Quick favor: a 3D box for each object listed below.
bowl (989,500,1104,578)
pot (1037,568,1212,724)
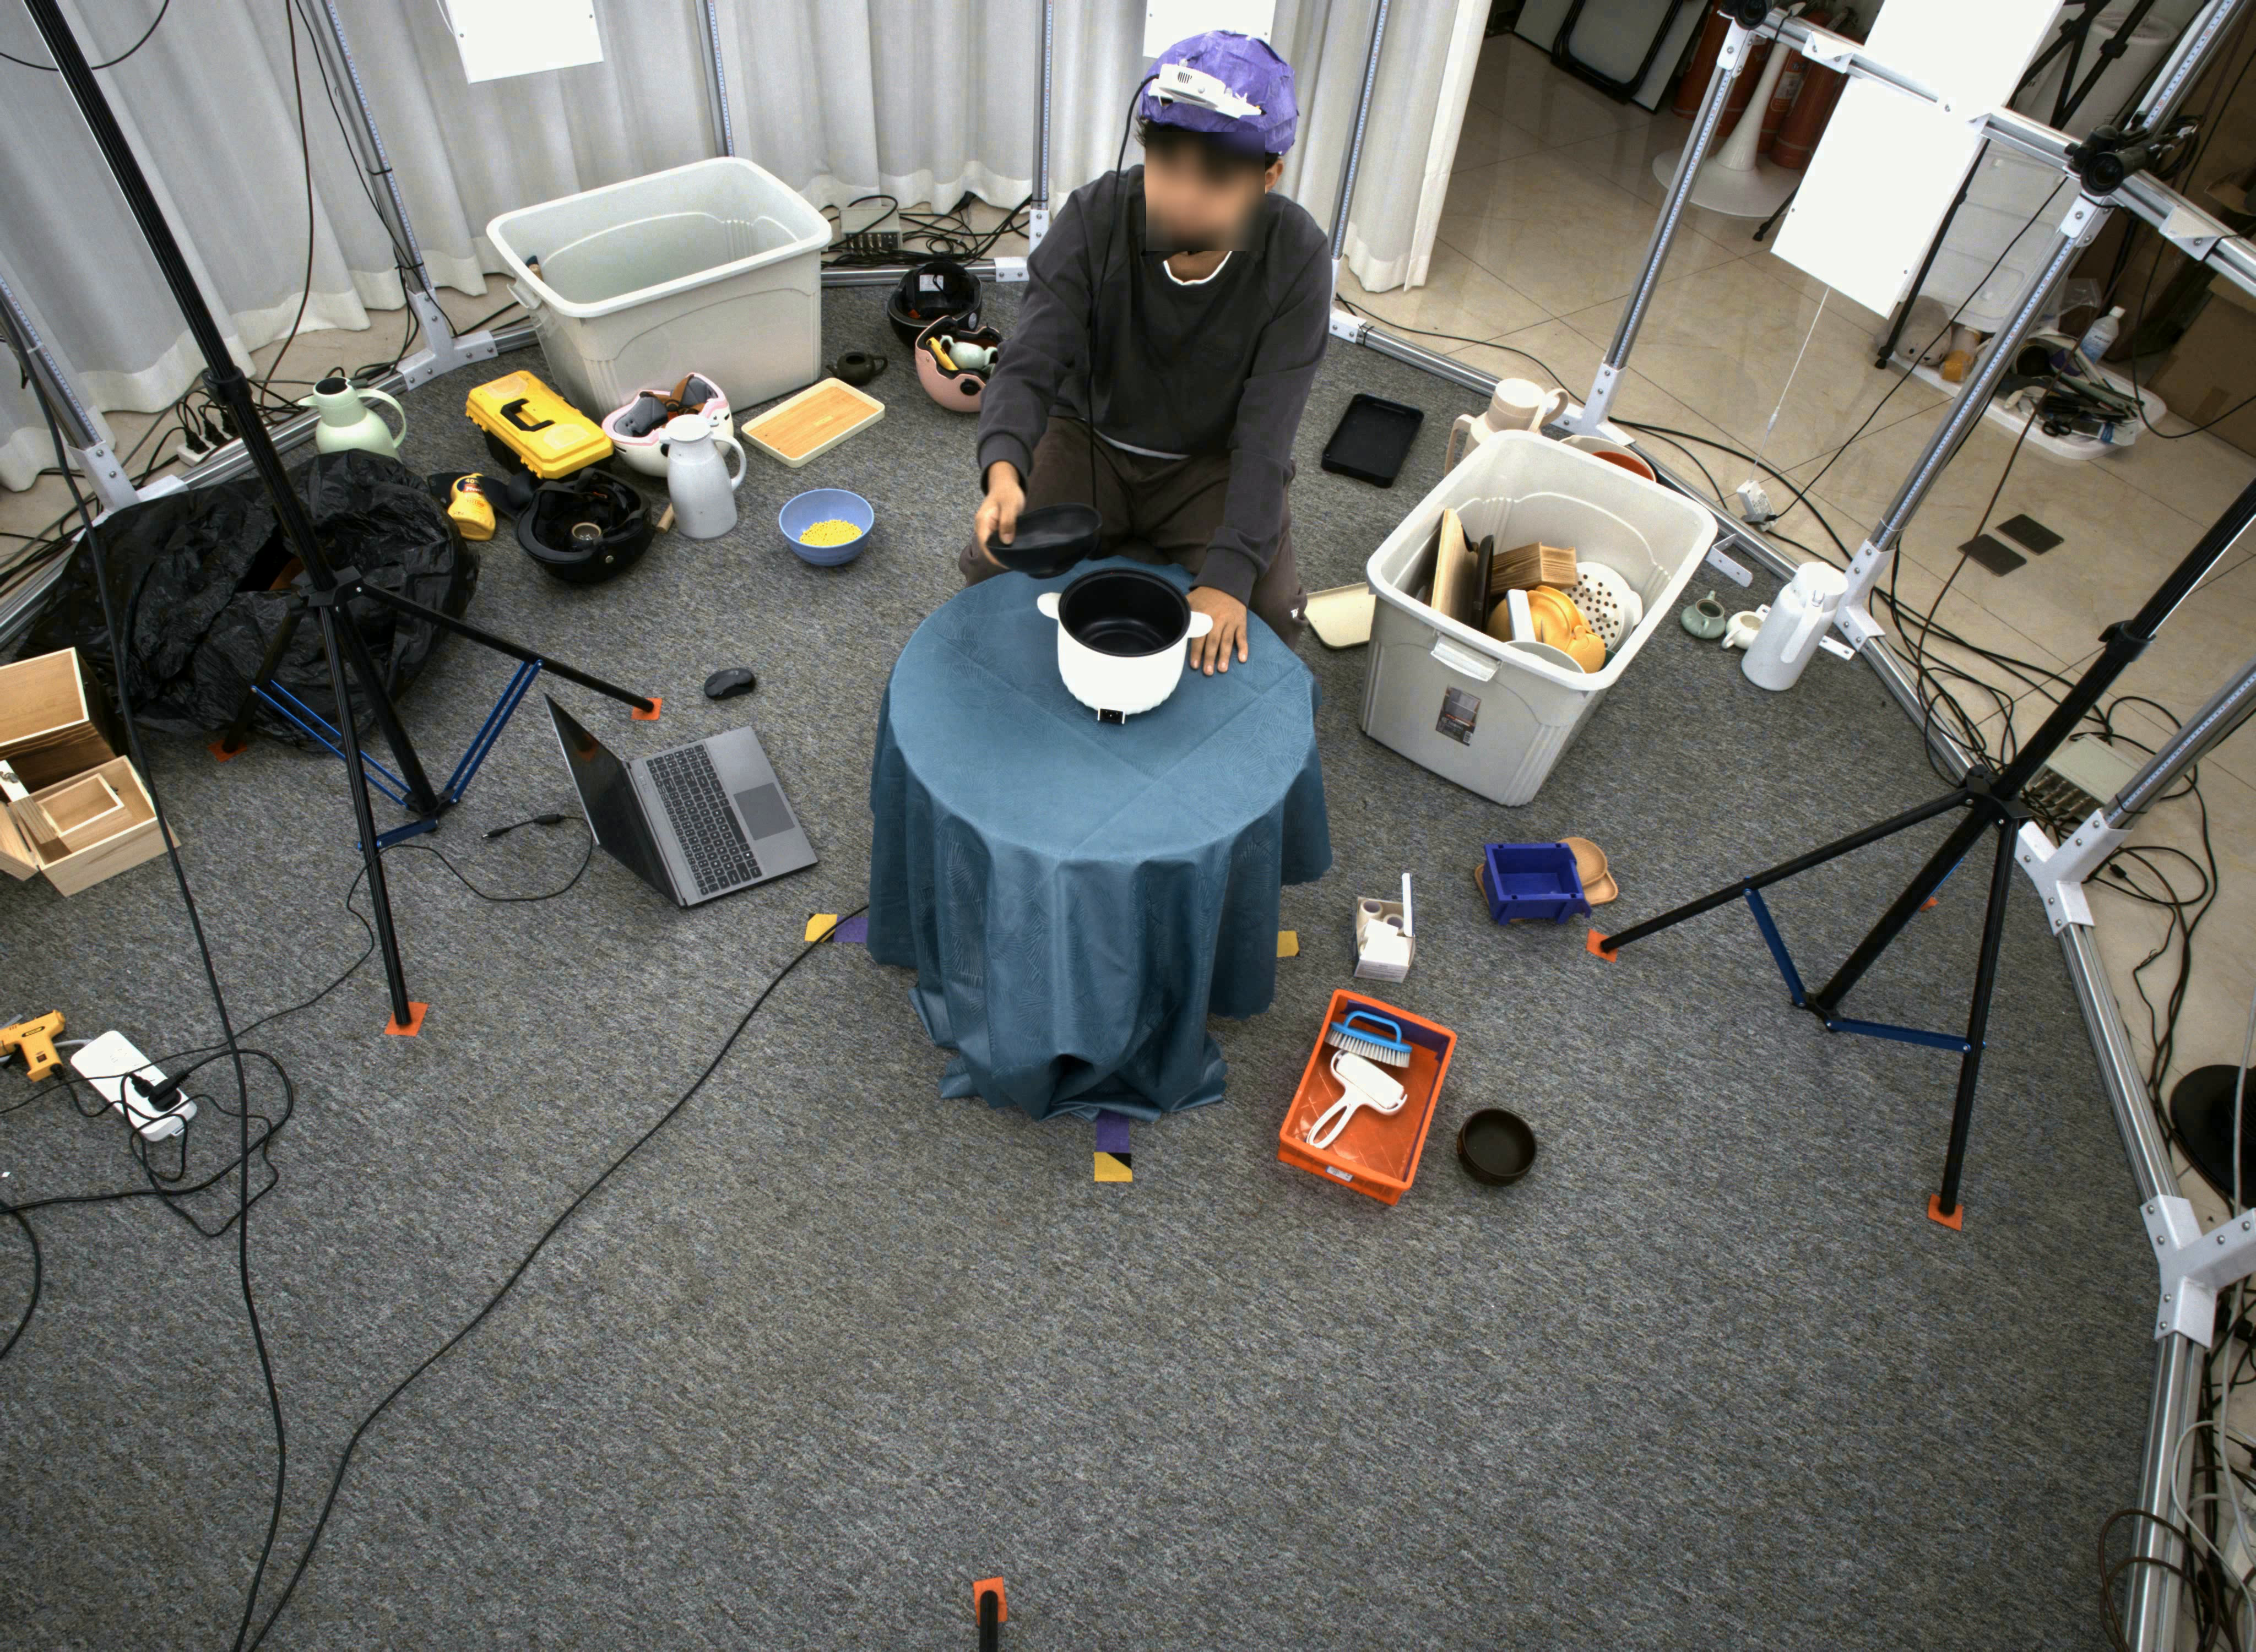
[{"bbox_3d":[-0.105,-0.375,1.723,0.171,0.065,0.140,2,38,27],"label":"bowl"},{"bbox_3d":[-0.009,-0.255,1.797,0.240,0.139,0.195,8,52,1],"label":"pot"}]
